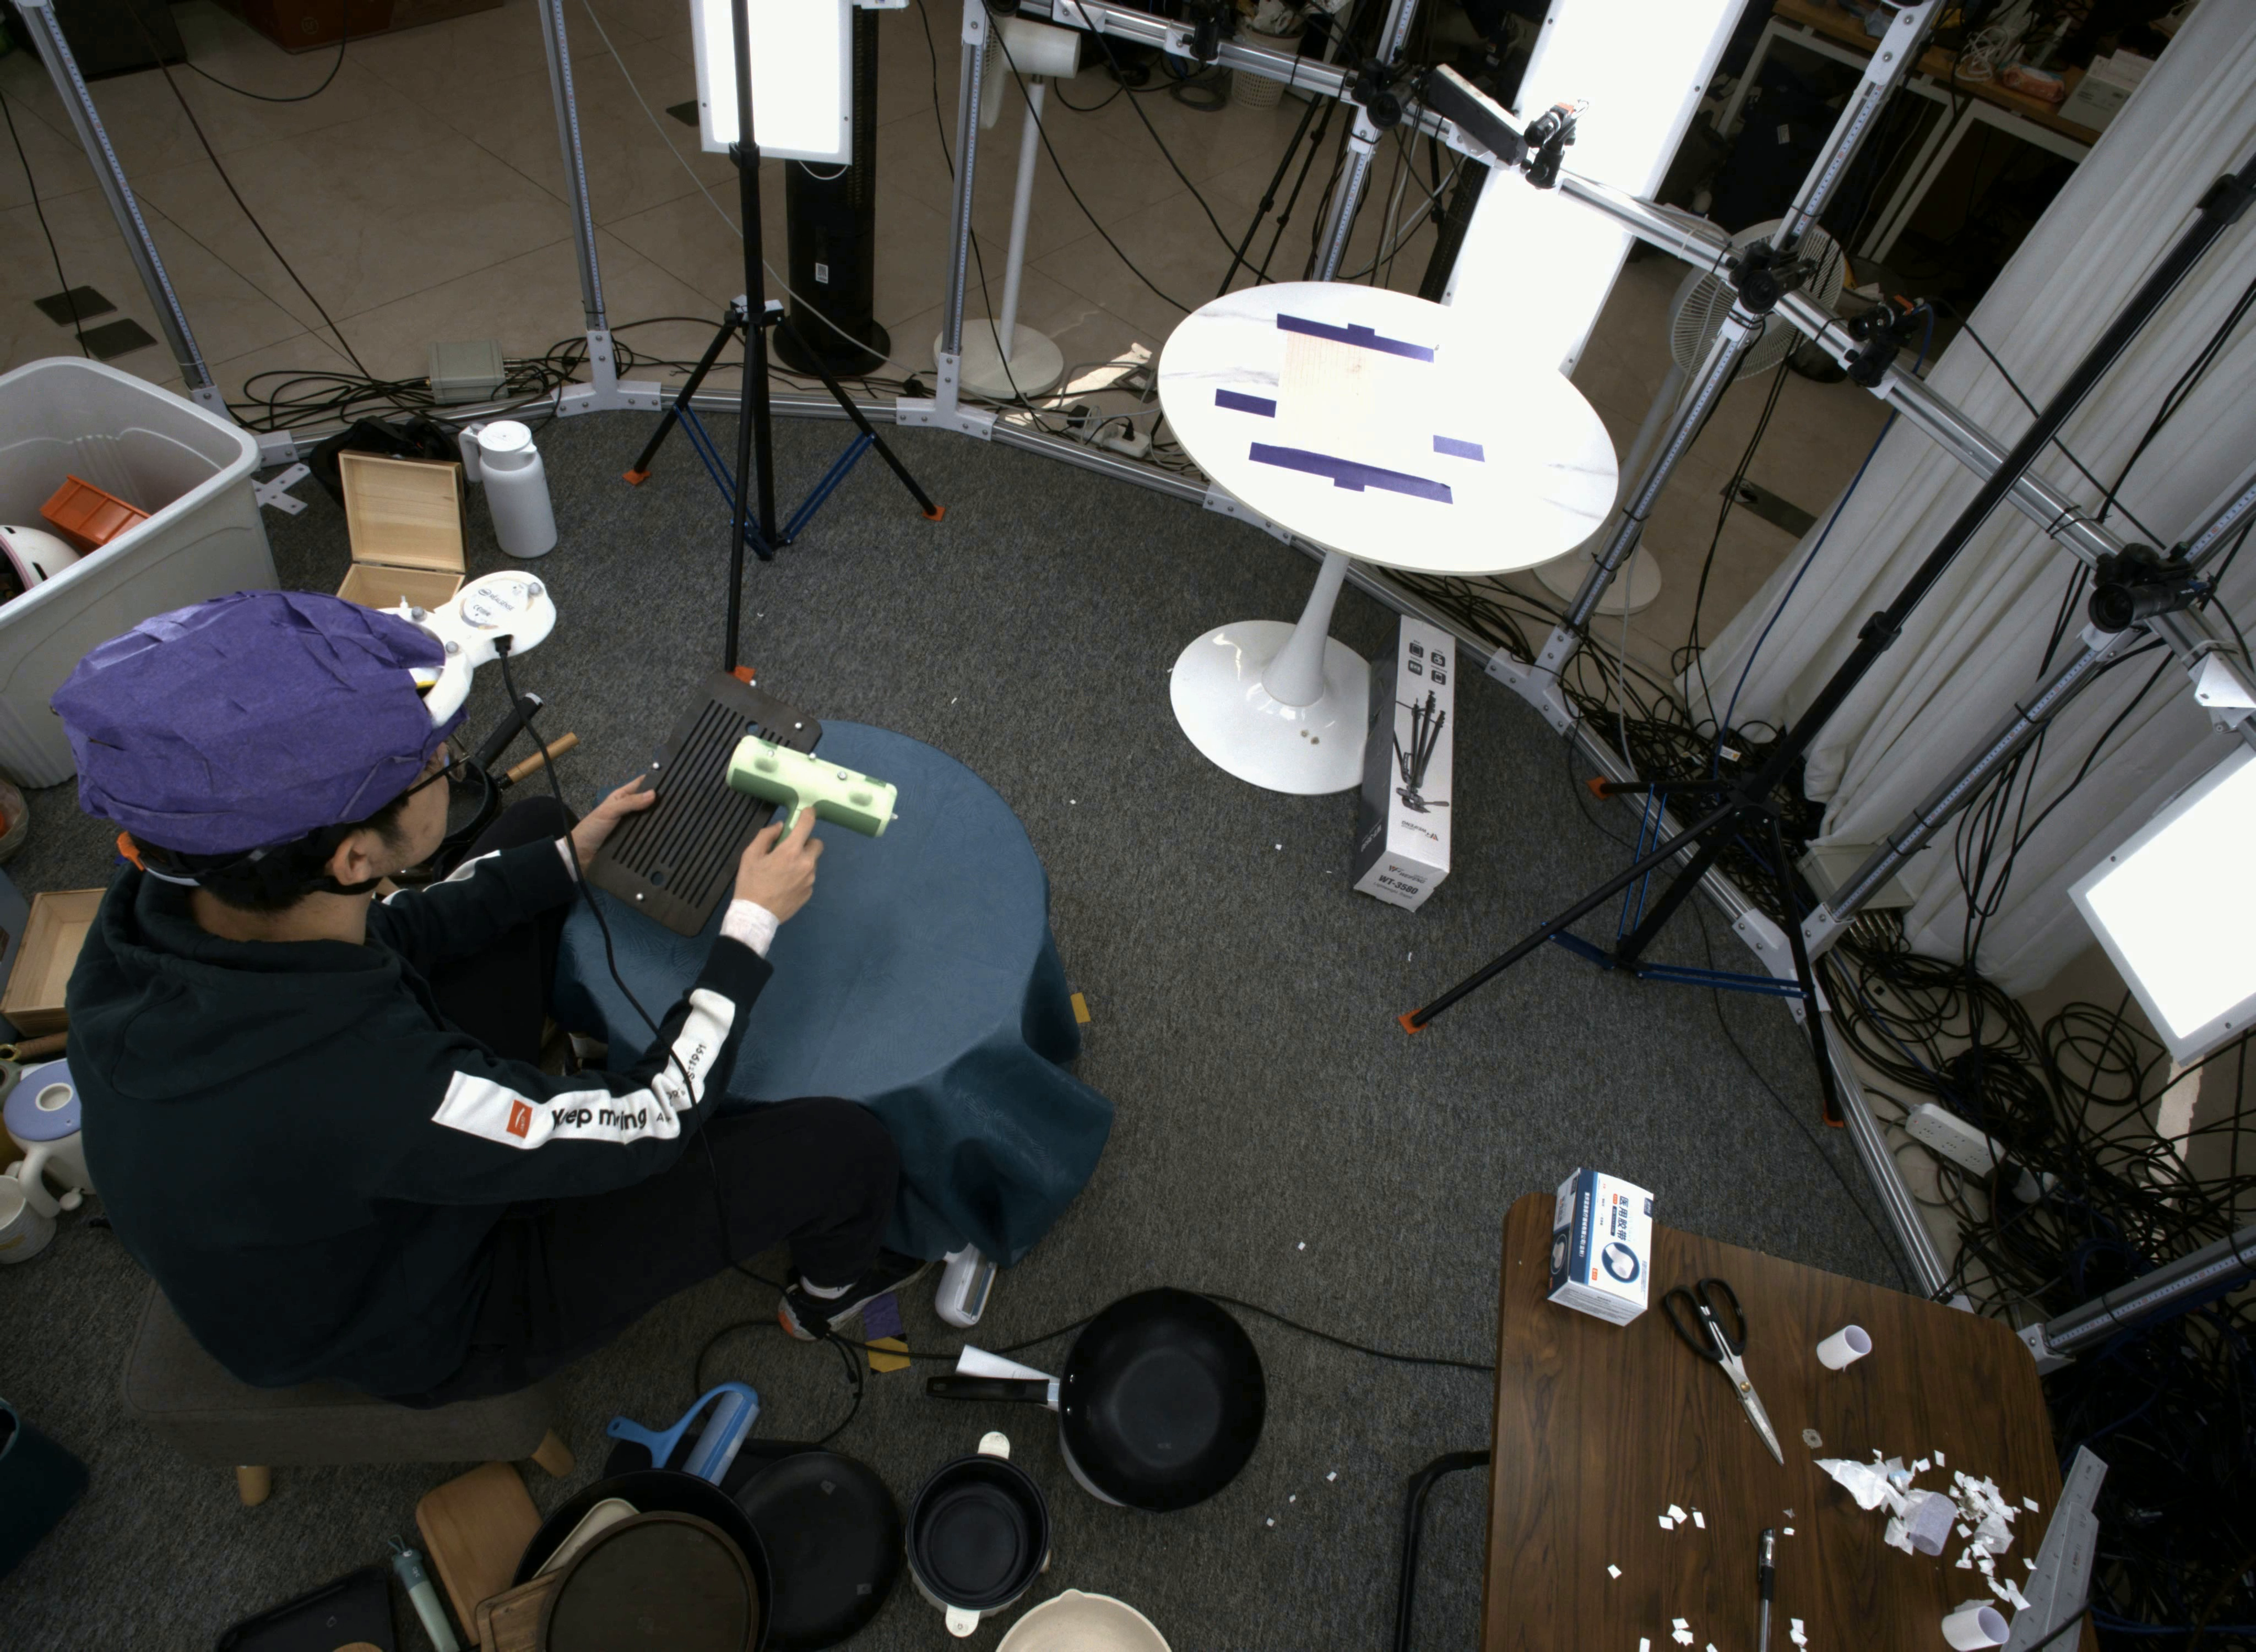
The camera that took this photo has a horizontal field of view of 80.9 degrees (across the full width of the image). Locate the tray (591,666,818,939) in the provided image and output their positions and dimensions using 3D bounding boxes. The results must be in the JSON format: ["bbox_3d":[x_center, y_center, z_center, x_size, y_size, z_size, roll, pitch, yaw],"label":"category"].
[{"bbox_3d":[-0.518,-0.032,1.571,0.167,0.019,0.307,27,80,8],"label":"tray"}]

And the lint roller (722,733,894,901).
[{"bbox_3d":[-0.386,-0.006,1.501,0.200,0.082,0.181,21,53,-13],"label":"lint roller"}]
